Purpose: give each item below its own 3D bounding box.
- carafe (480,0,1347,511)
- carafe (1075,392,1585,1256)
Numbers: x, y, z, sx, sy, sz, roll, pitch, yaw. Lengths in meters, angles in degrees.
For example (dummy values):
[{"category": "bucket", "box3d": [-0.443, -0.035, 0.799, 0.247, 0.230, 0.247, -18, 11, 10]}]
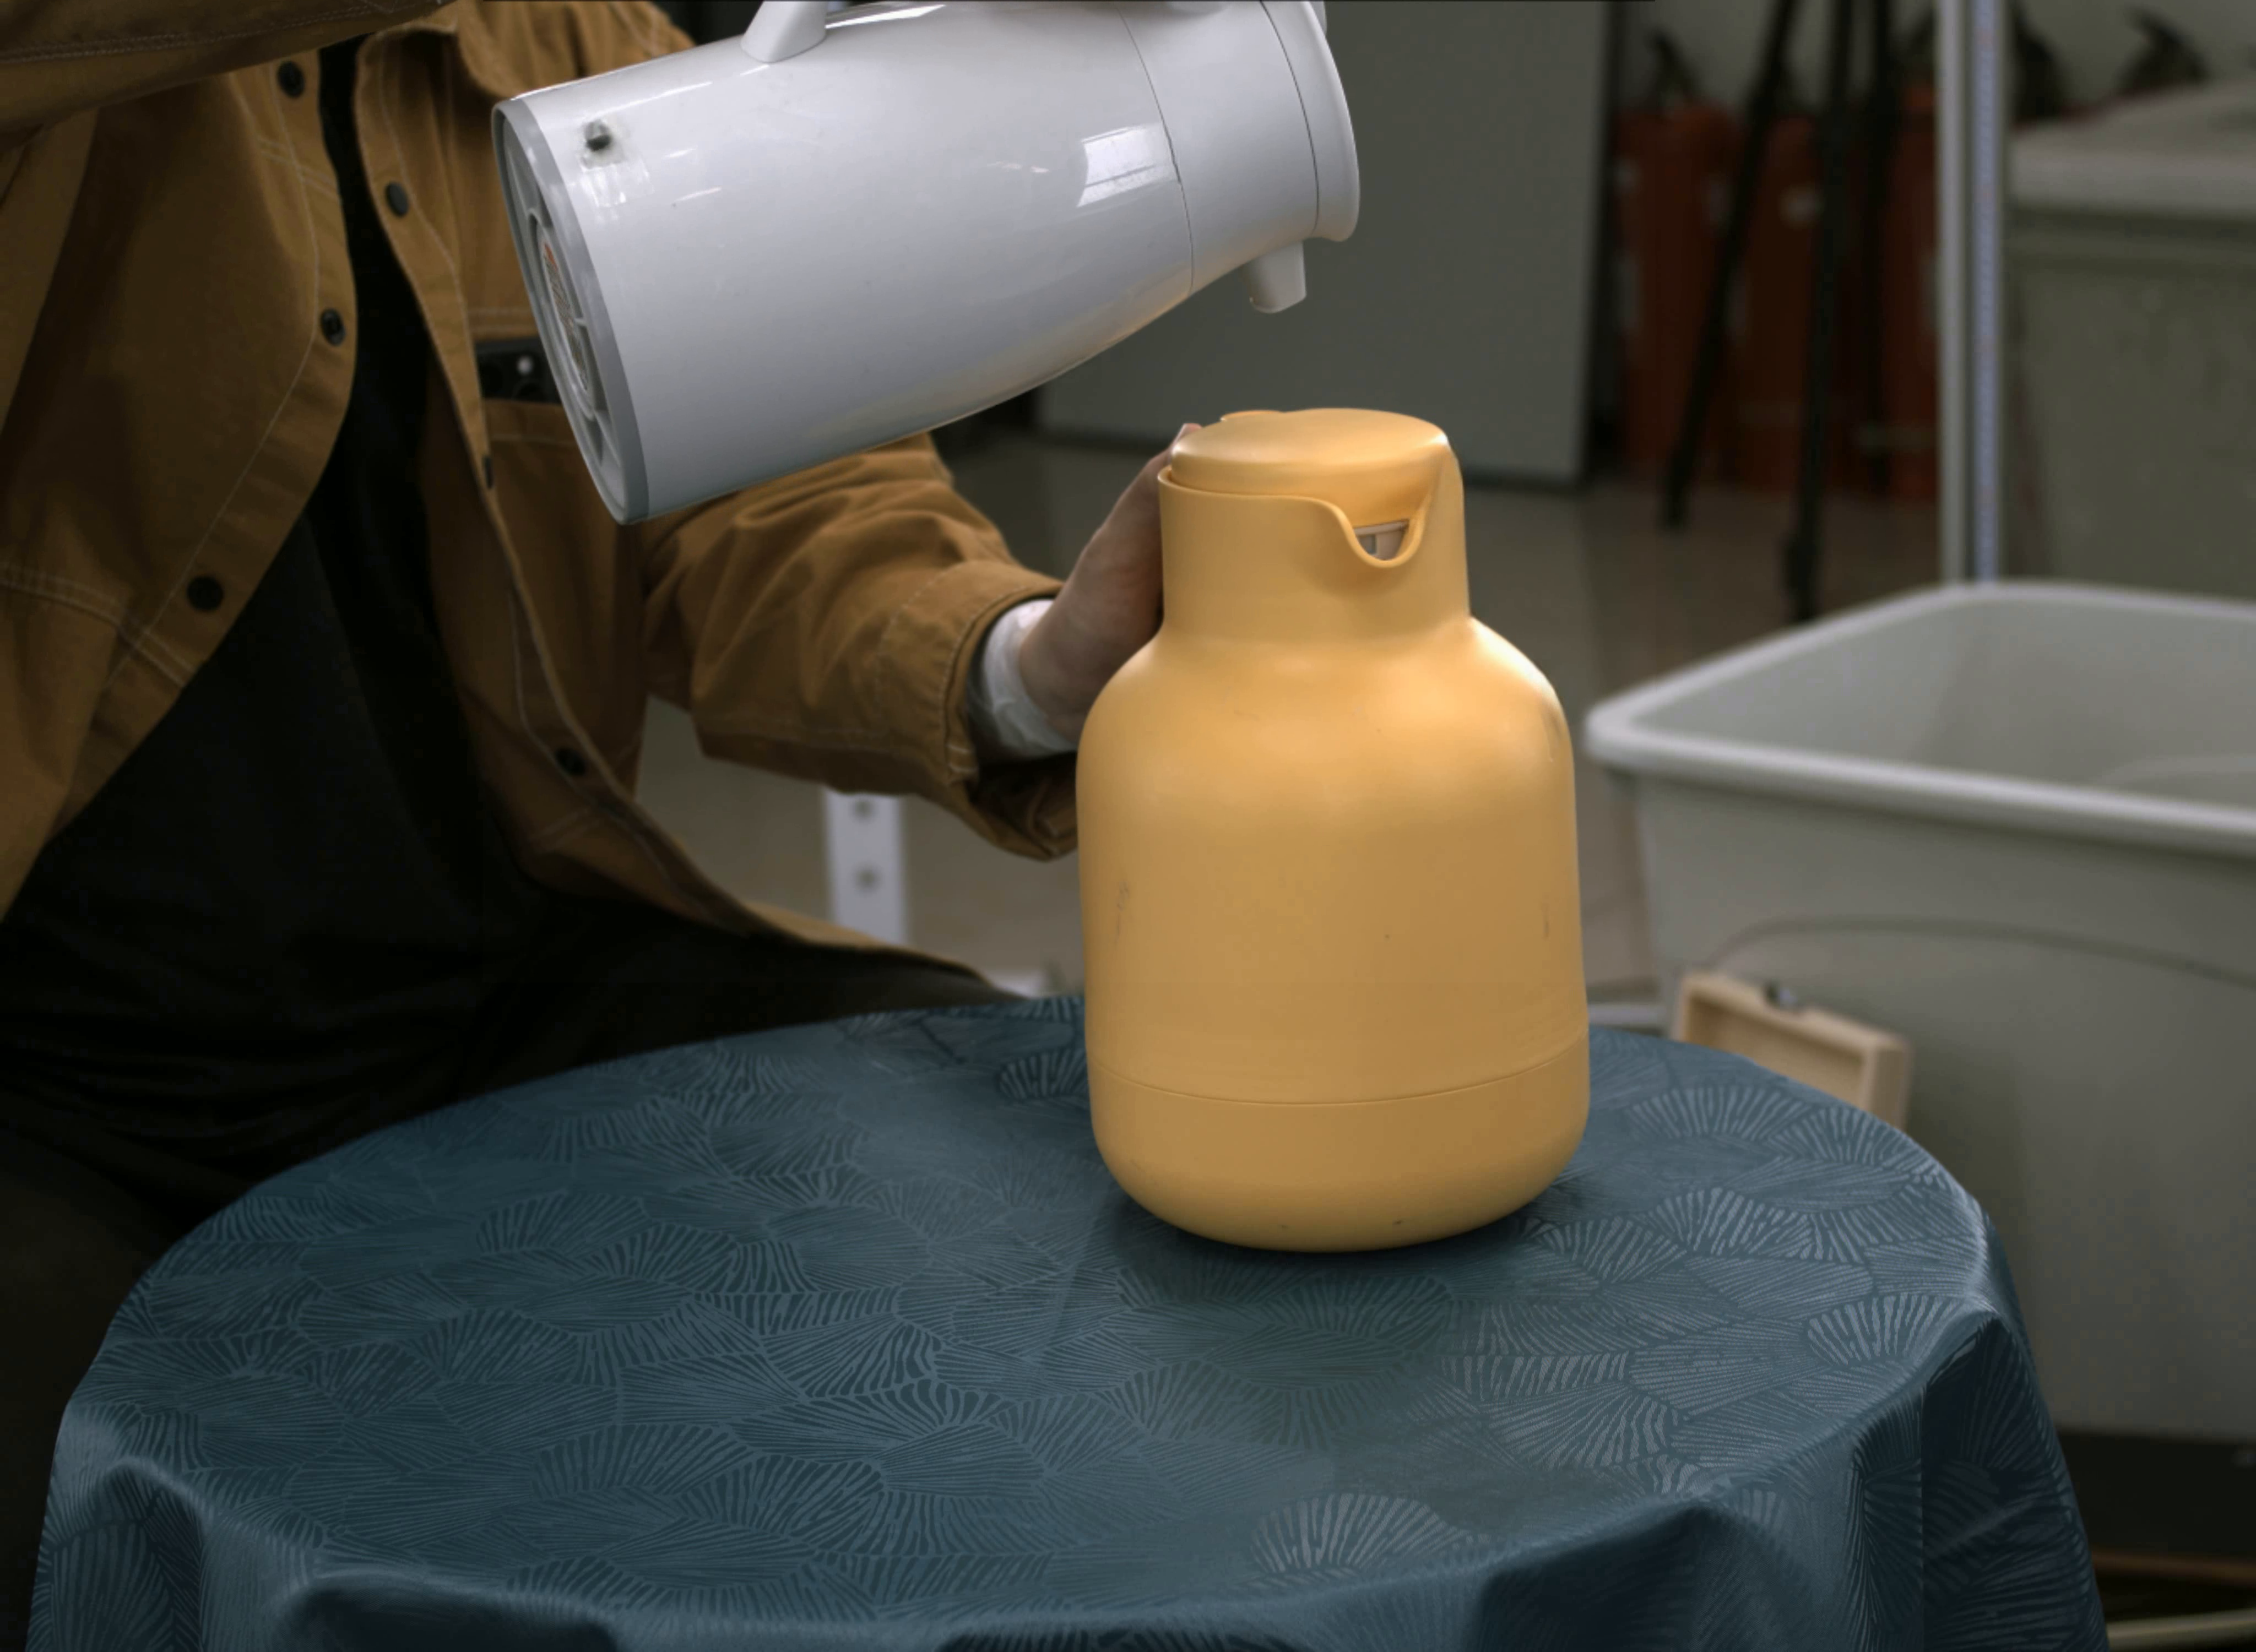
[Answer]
[{"category": "carafe", "box3d": [-0.061, -0.209, 1.615, 0.245, 0.168, 0.134, -18, 29, -9]}, {"category": "carafe", "box3d": [0.059, -0.009, 1.739, 0.160, 0.263, 0.204, -5, 15, -13]}]
